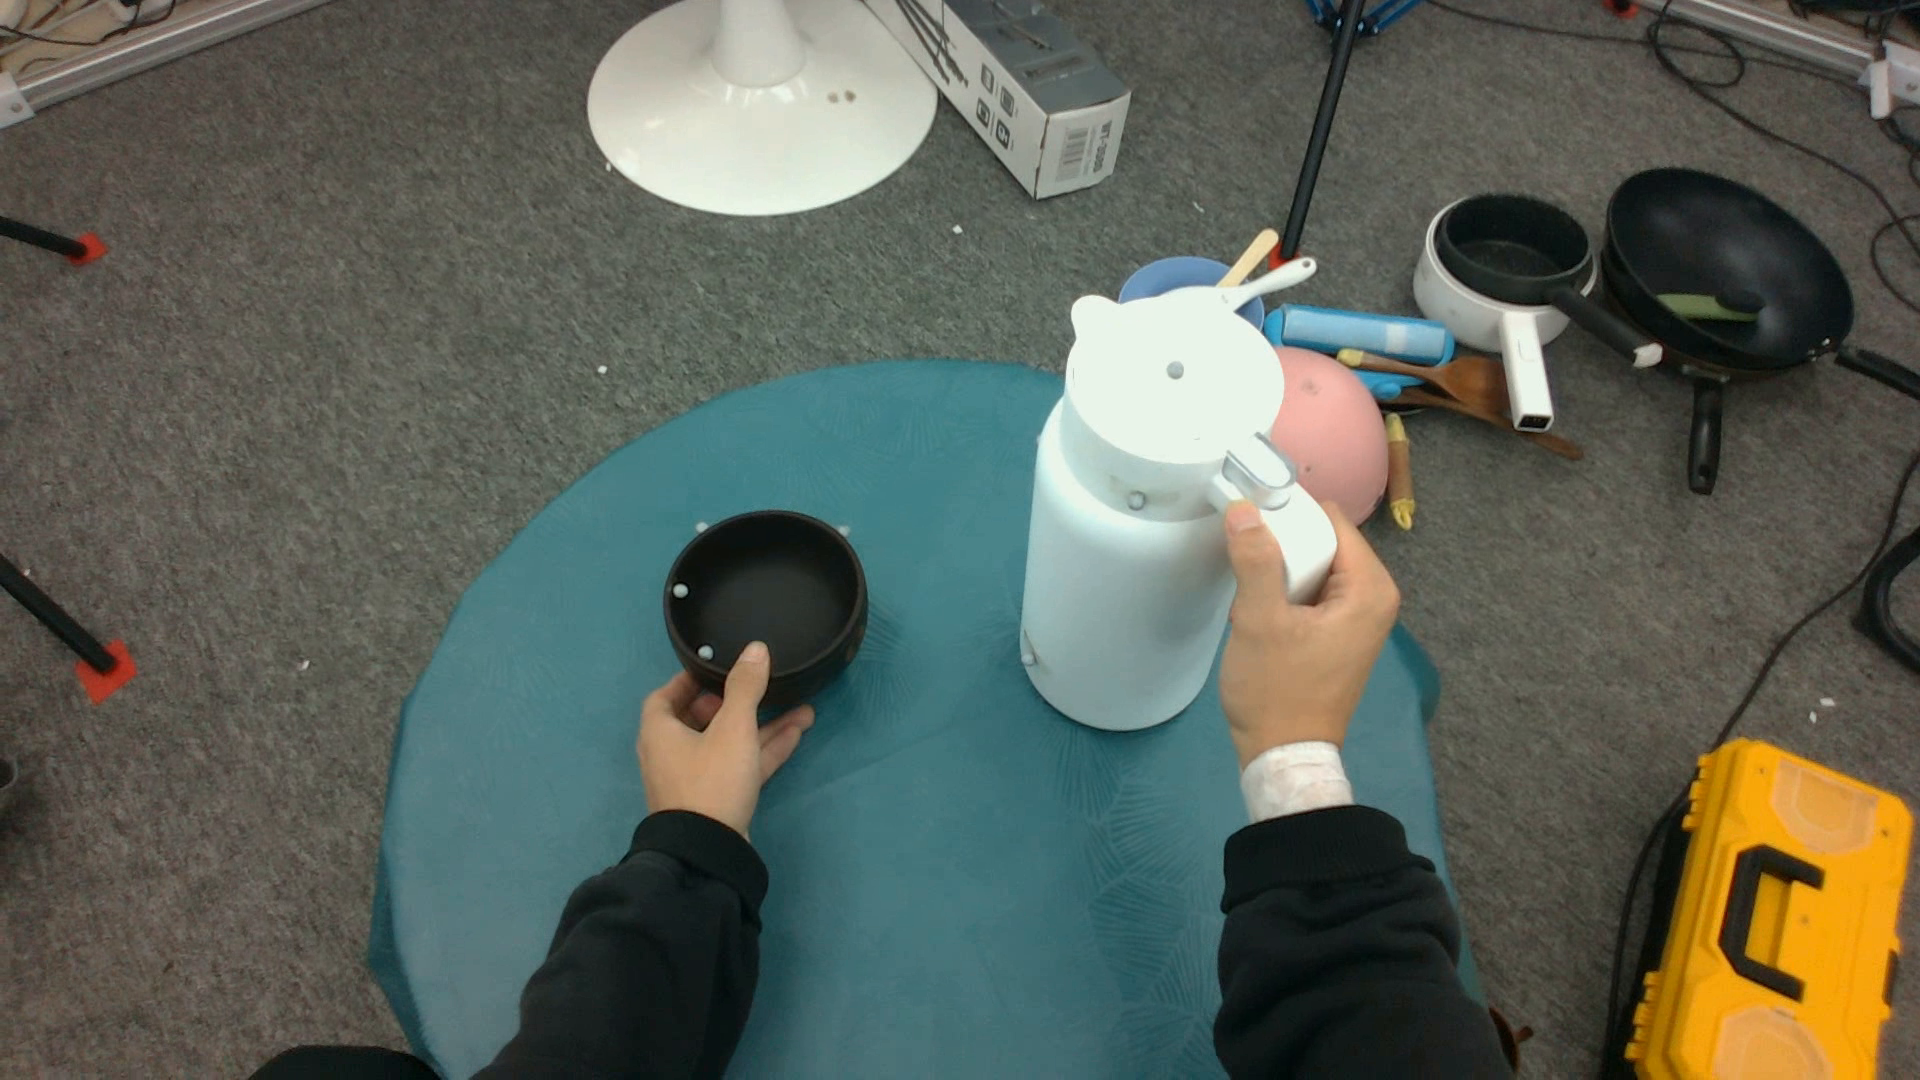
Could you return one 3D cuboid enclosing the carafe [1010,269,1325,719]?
[{"bbox_3d":[0.101,-0.001,0.723,0.124,0.267,0.173,-31,63,-22],"label":"carafe"}]

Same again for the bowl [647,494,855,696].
[{"bbox_3d":[-0.120,0.039,0.805,0.118,0.069,0.118,1,57,-2],"label":"bowl"}]
